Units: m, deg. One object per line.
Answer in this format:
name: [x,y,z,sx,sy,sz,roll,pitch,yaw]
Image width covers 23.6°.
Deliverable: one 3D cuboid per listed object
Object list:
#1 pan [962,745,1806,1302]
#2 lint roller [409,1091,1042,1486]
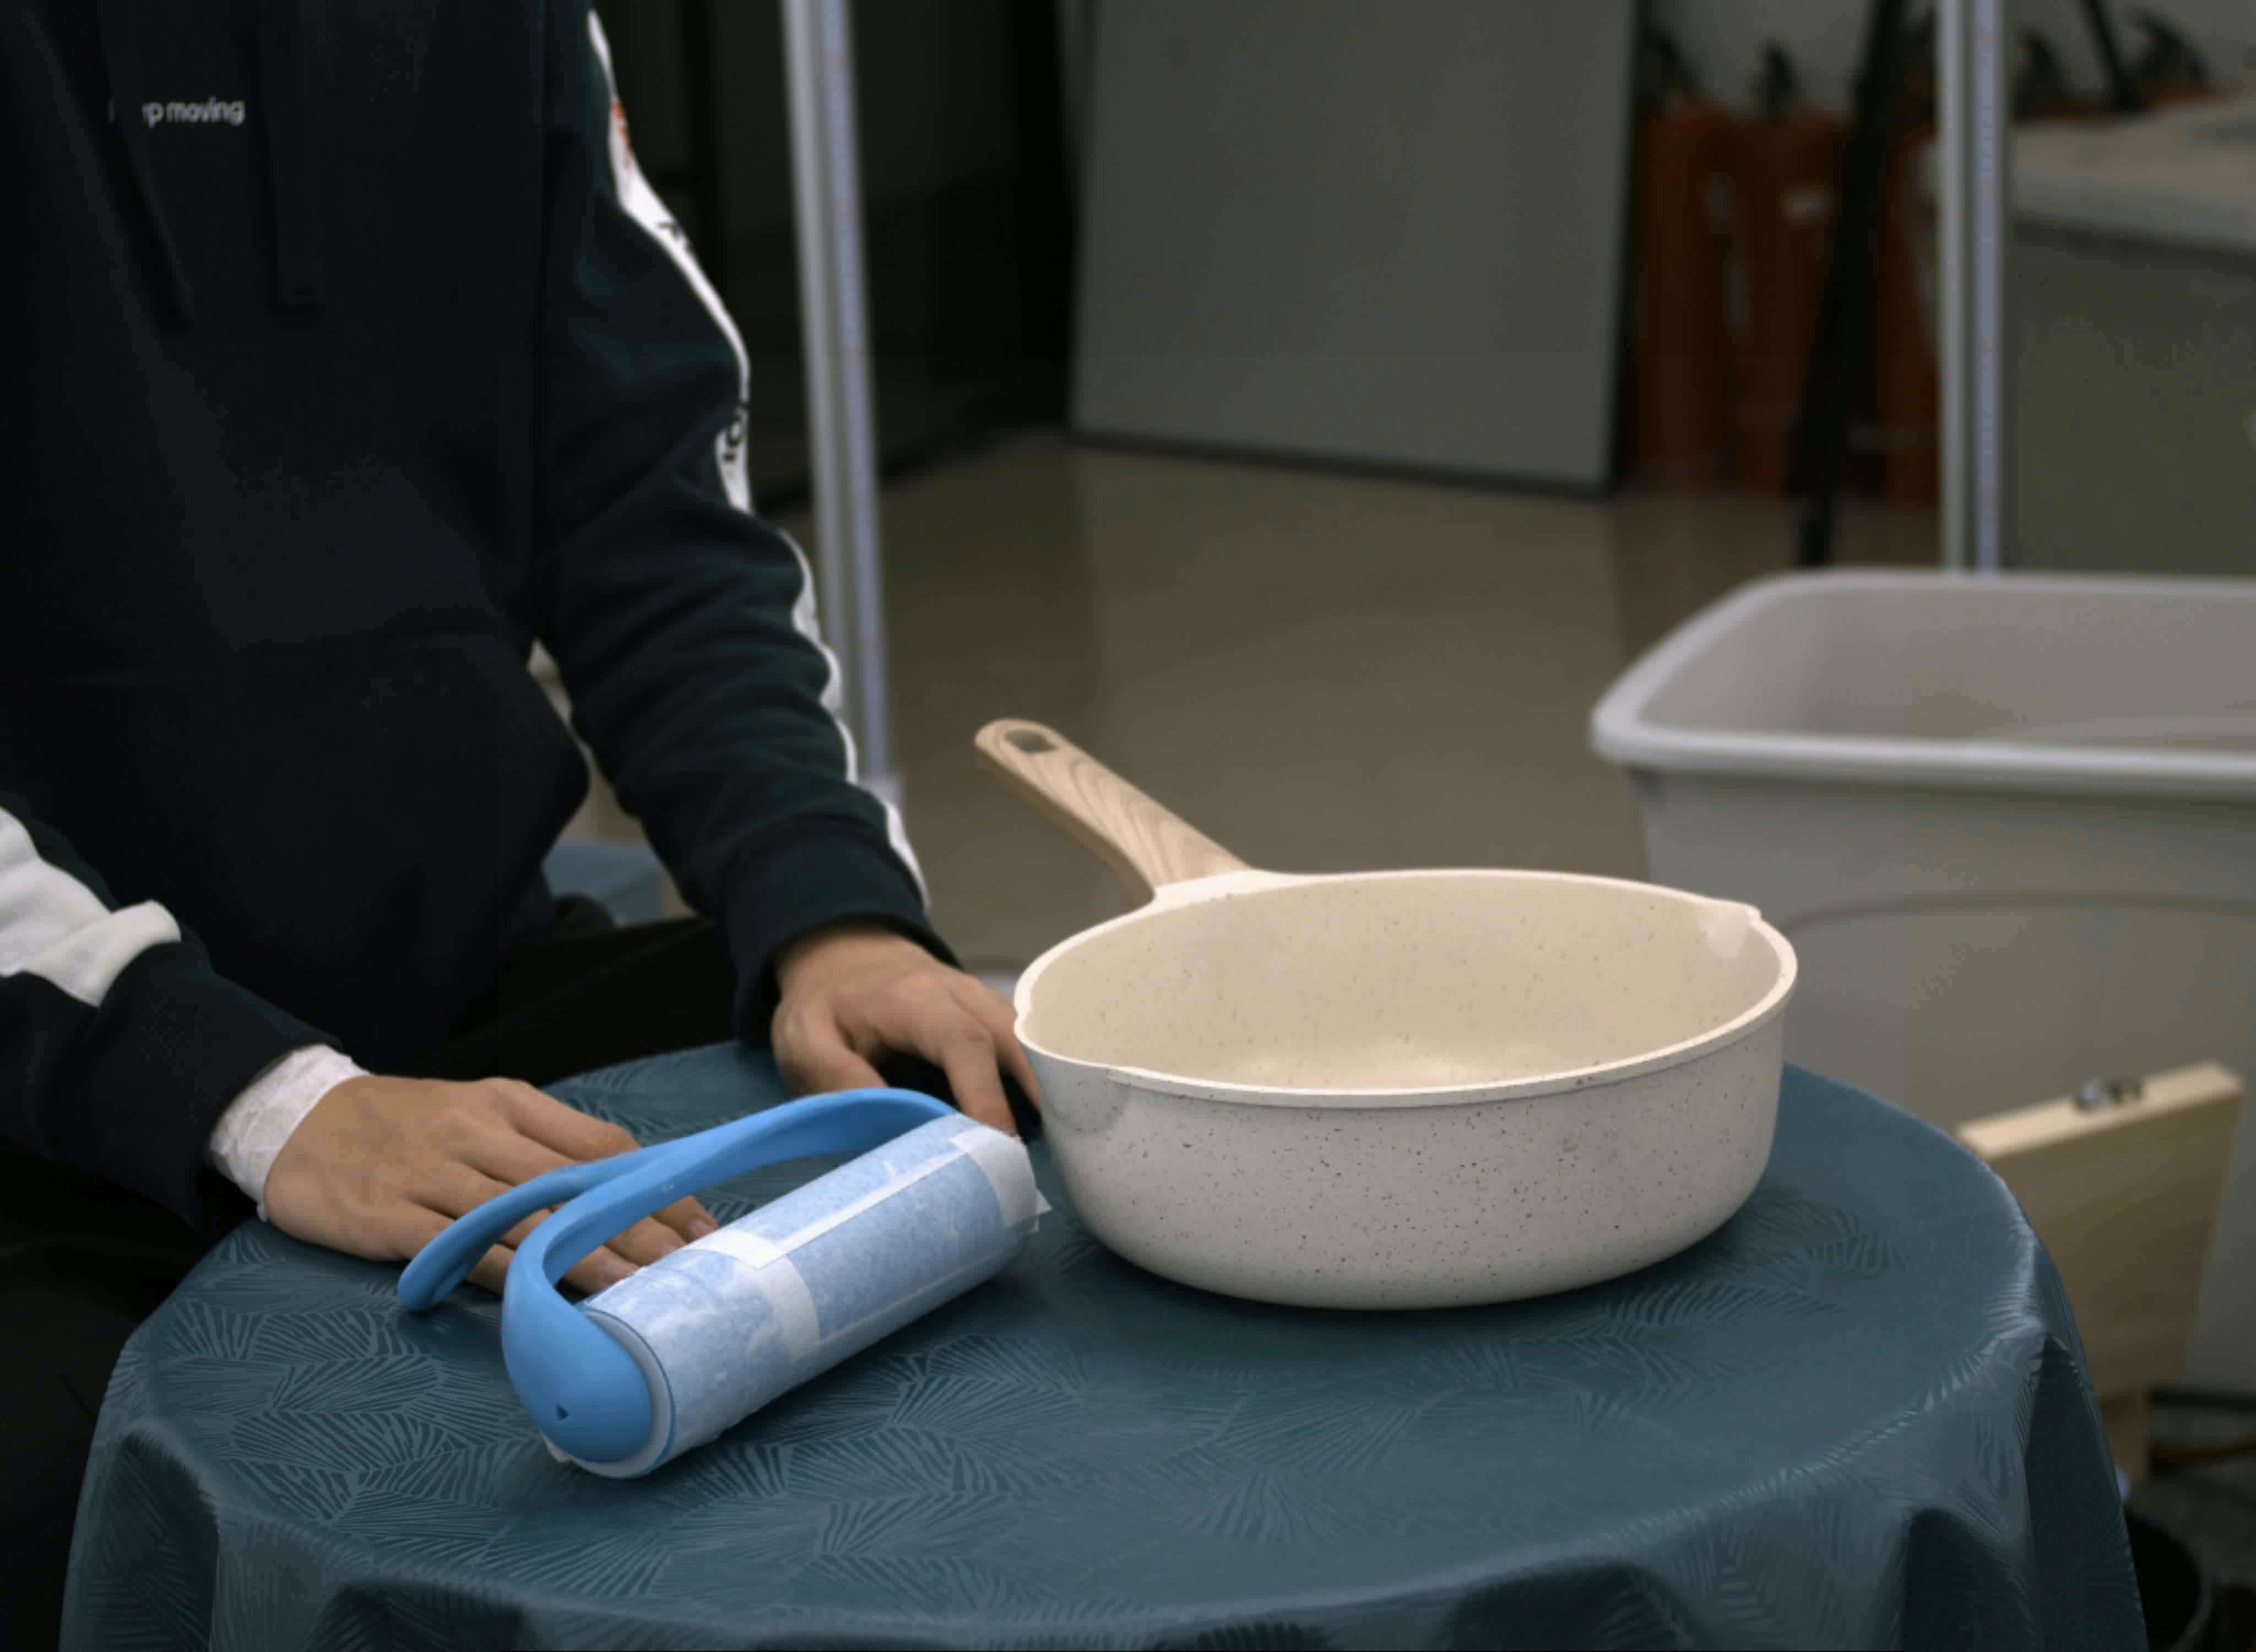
pan: [0.052,0.059,1.799,0.258,0.103,0.439,-12,15,-24]
lint roller: [-0.149,0.134,1.645,0.181,0.068,0.225,5,18,30]
